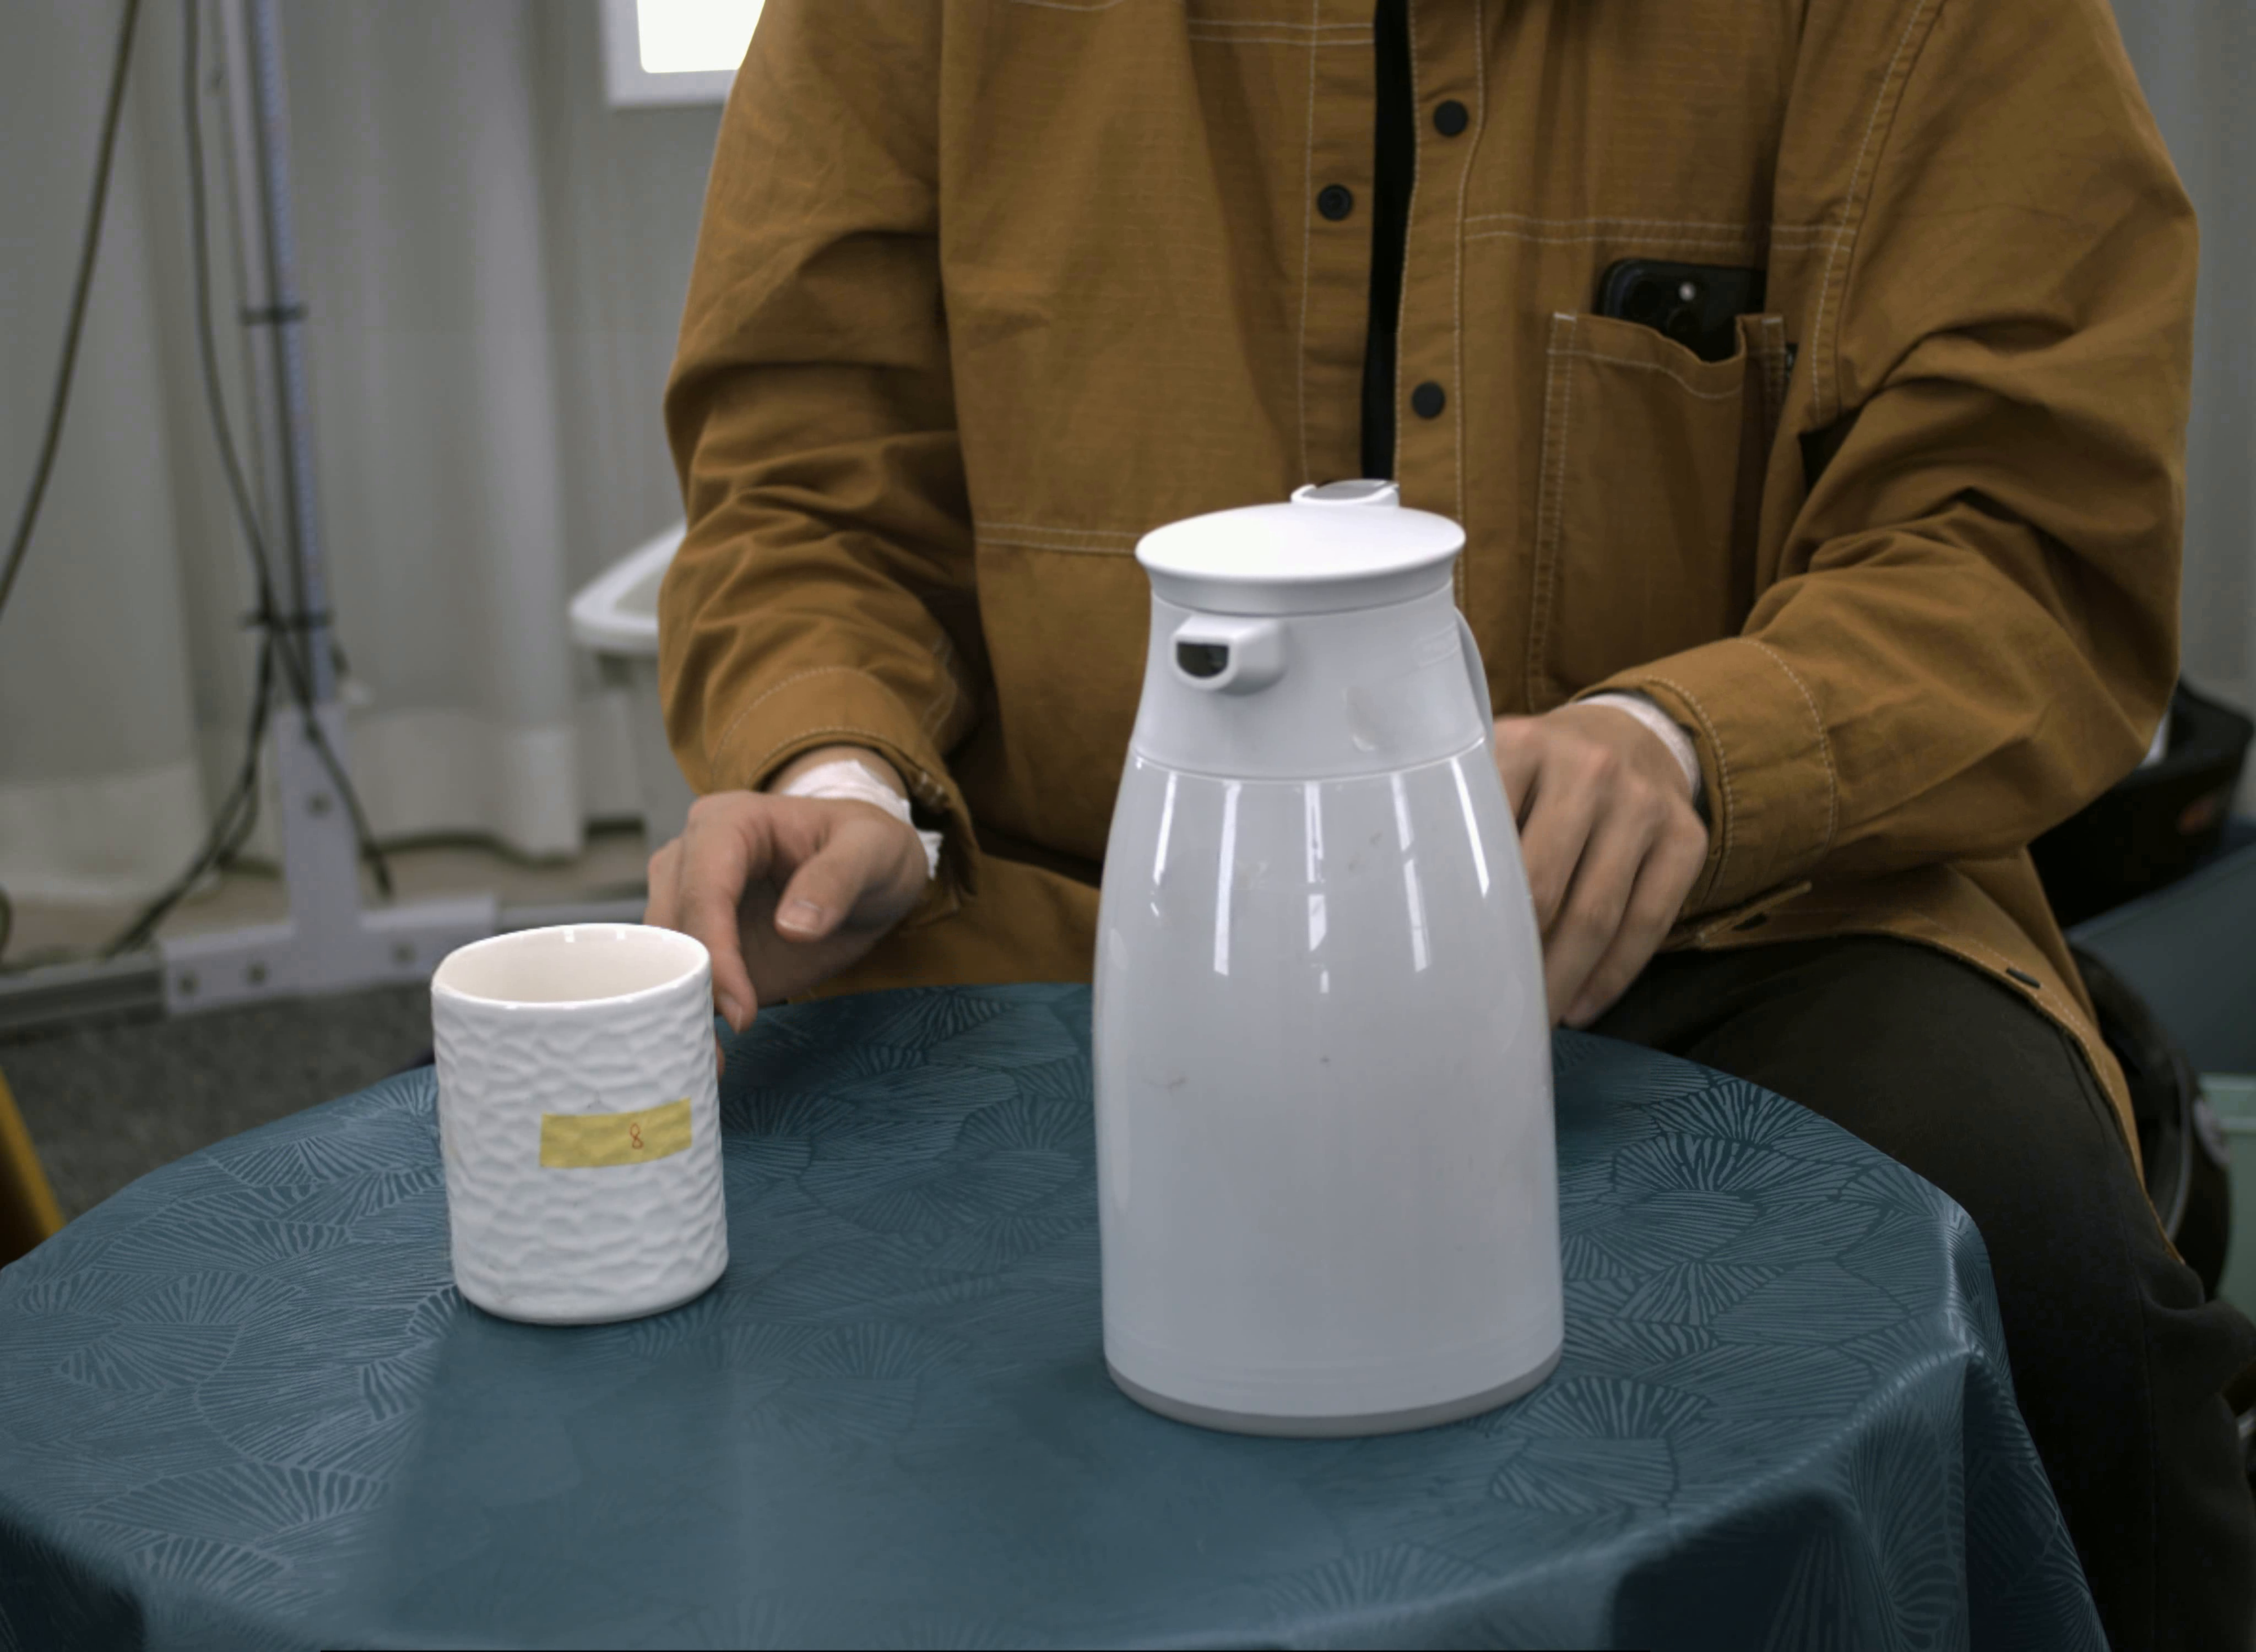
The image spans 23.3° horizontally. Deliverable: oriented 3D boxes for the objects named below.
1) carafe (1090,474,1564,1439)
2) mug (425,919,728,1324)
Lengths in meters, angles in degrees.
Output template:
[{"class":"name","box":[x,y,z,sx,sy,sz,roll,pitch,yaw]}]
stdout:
[{"class":"carafe","box":[0.060,0.028,1.551,0.133,0.248,0.168,3,15,26]},{"class":"mug","box":[-0.165,0.085,1.659,0.084,0.101,0.119,-3,15,-1]}]
